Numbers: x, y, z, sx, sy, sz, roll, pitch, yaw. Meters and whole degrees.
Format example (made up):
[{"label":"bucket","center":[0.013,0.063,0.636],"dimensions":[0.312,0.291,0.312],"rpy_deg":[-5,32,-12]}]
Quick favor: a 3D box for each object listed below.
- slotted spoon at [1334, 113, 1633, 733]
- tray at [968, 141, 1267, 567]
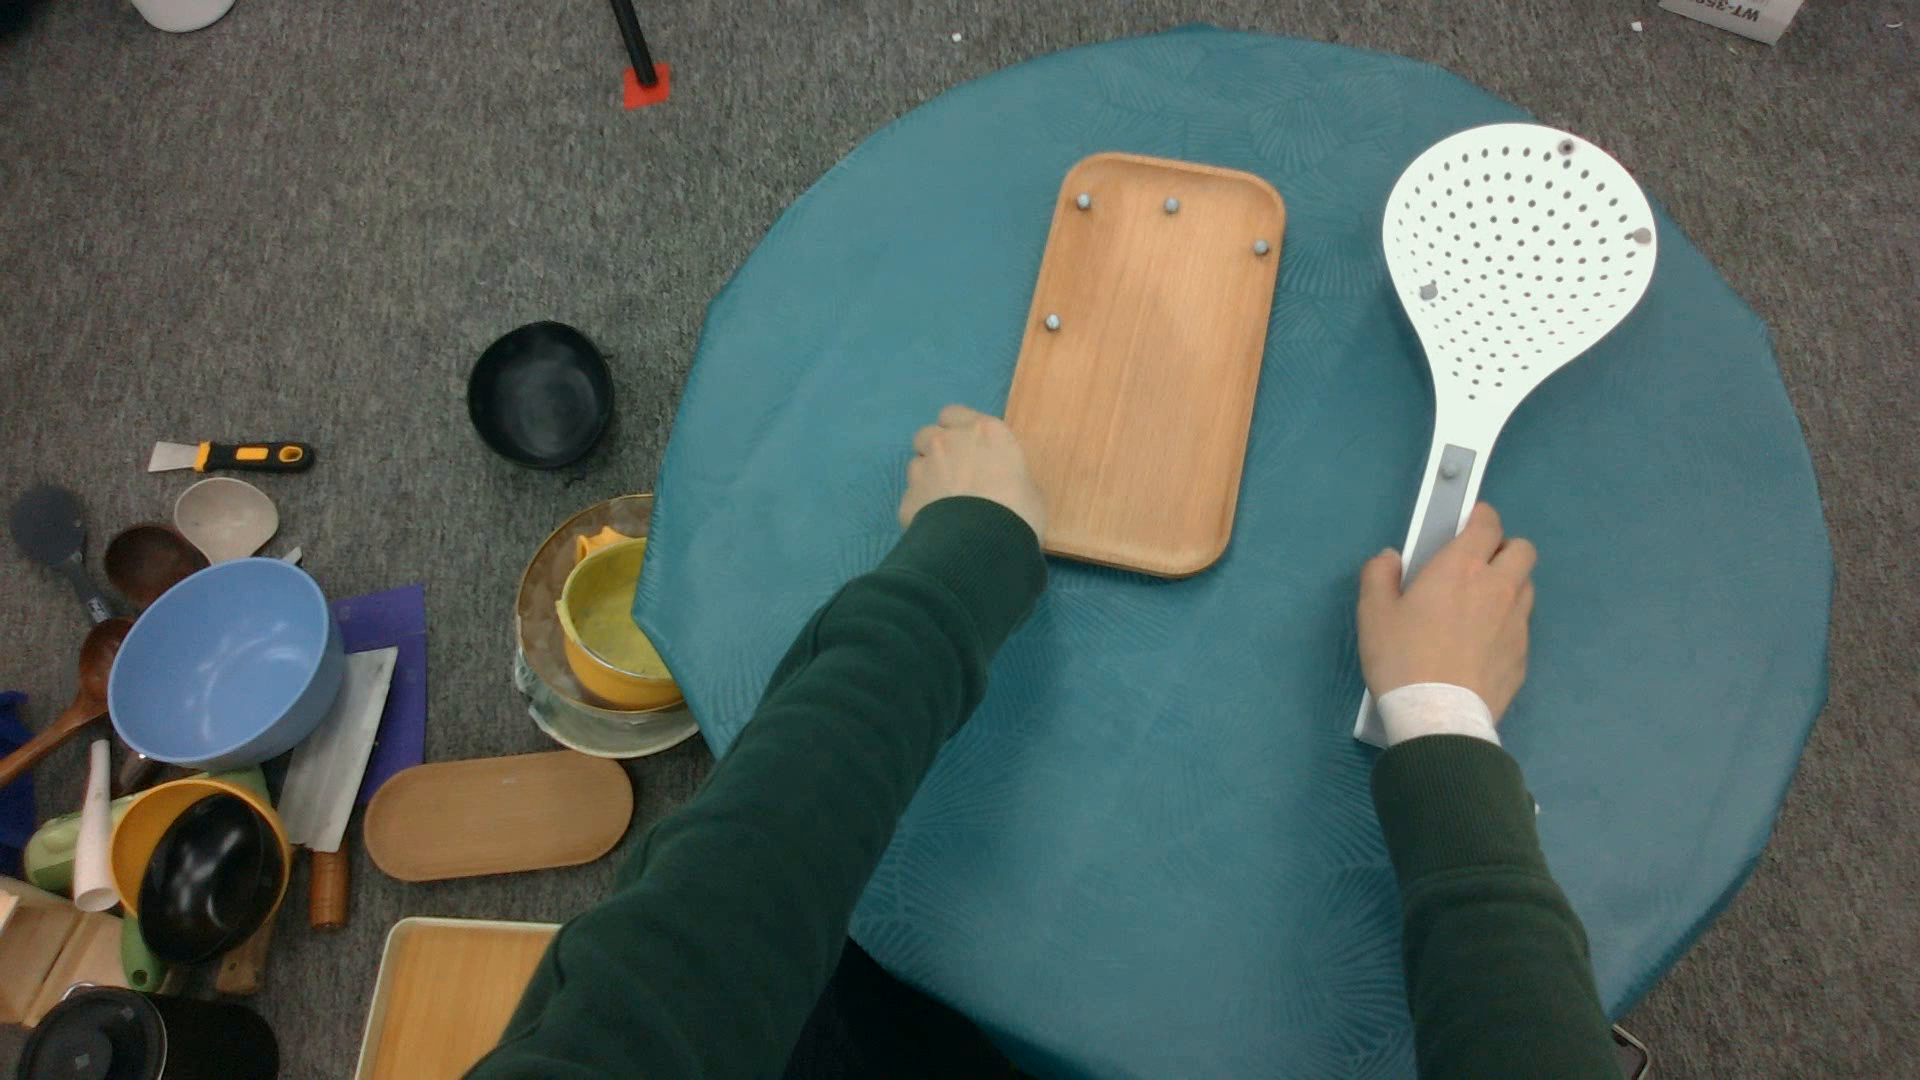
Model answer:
[{"label":"slotted spoon","center":[0.249,-0.068,0.704],"dimensions":[0.136,0.045,0.351],"rpy_deg":[16,69,13]},{"label":"tray","center":[0.088,-0.106,0.741],"dimensions":[0.130,0.023,0.251],"rpy_deg":[11,68,8]}]
